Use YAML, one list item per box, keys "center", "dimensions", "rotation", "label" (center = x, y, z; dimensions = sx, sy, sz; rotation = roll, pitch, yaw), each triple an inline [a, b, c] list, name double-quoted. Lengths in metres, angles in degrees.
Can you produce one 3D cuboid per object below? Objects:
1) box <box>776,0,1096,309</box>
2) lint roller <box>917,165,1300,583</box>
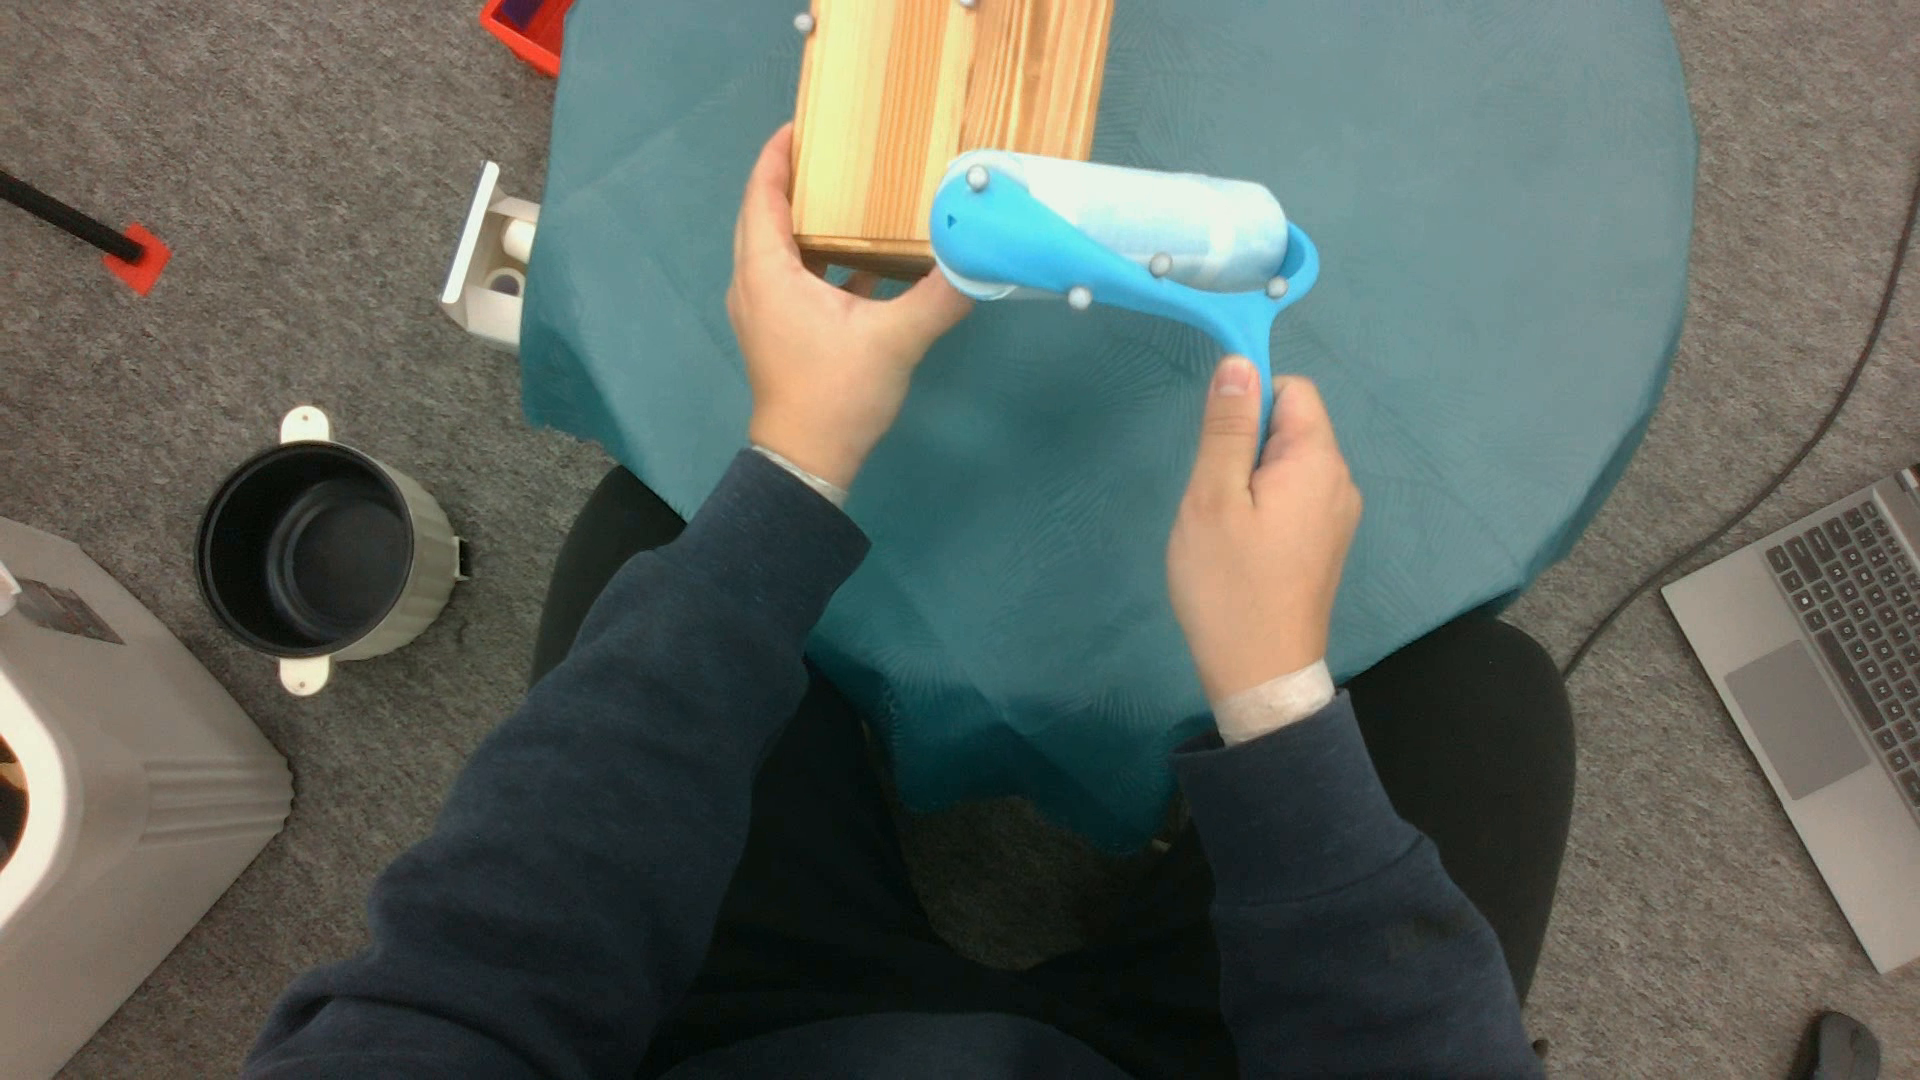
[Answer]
- center: [-0.007, -0.215, 0.612]
  dimensions: [0.107, 0.080, 0.211]
  rotation: [10, 95, 43]
  label: "box"
- center: [0.092, -0.075, 0.574]
  dimensions: [0.067, 0.230, 0.180]
  rotation: [-35, 79, 37]
  label: "lint roller"
